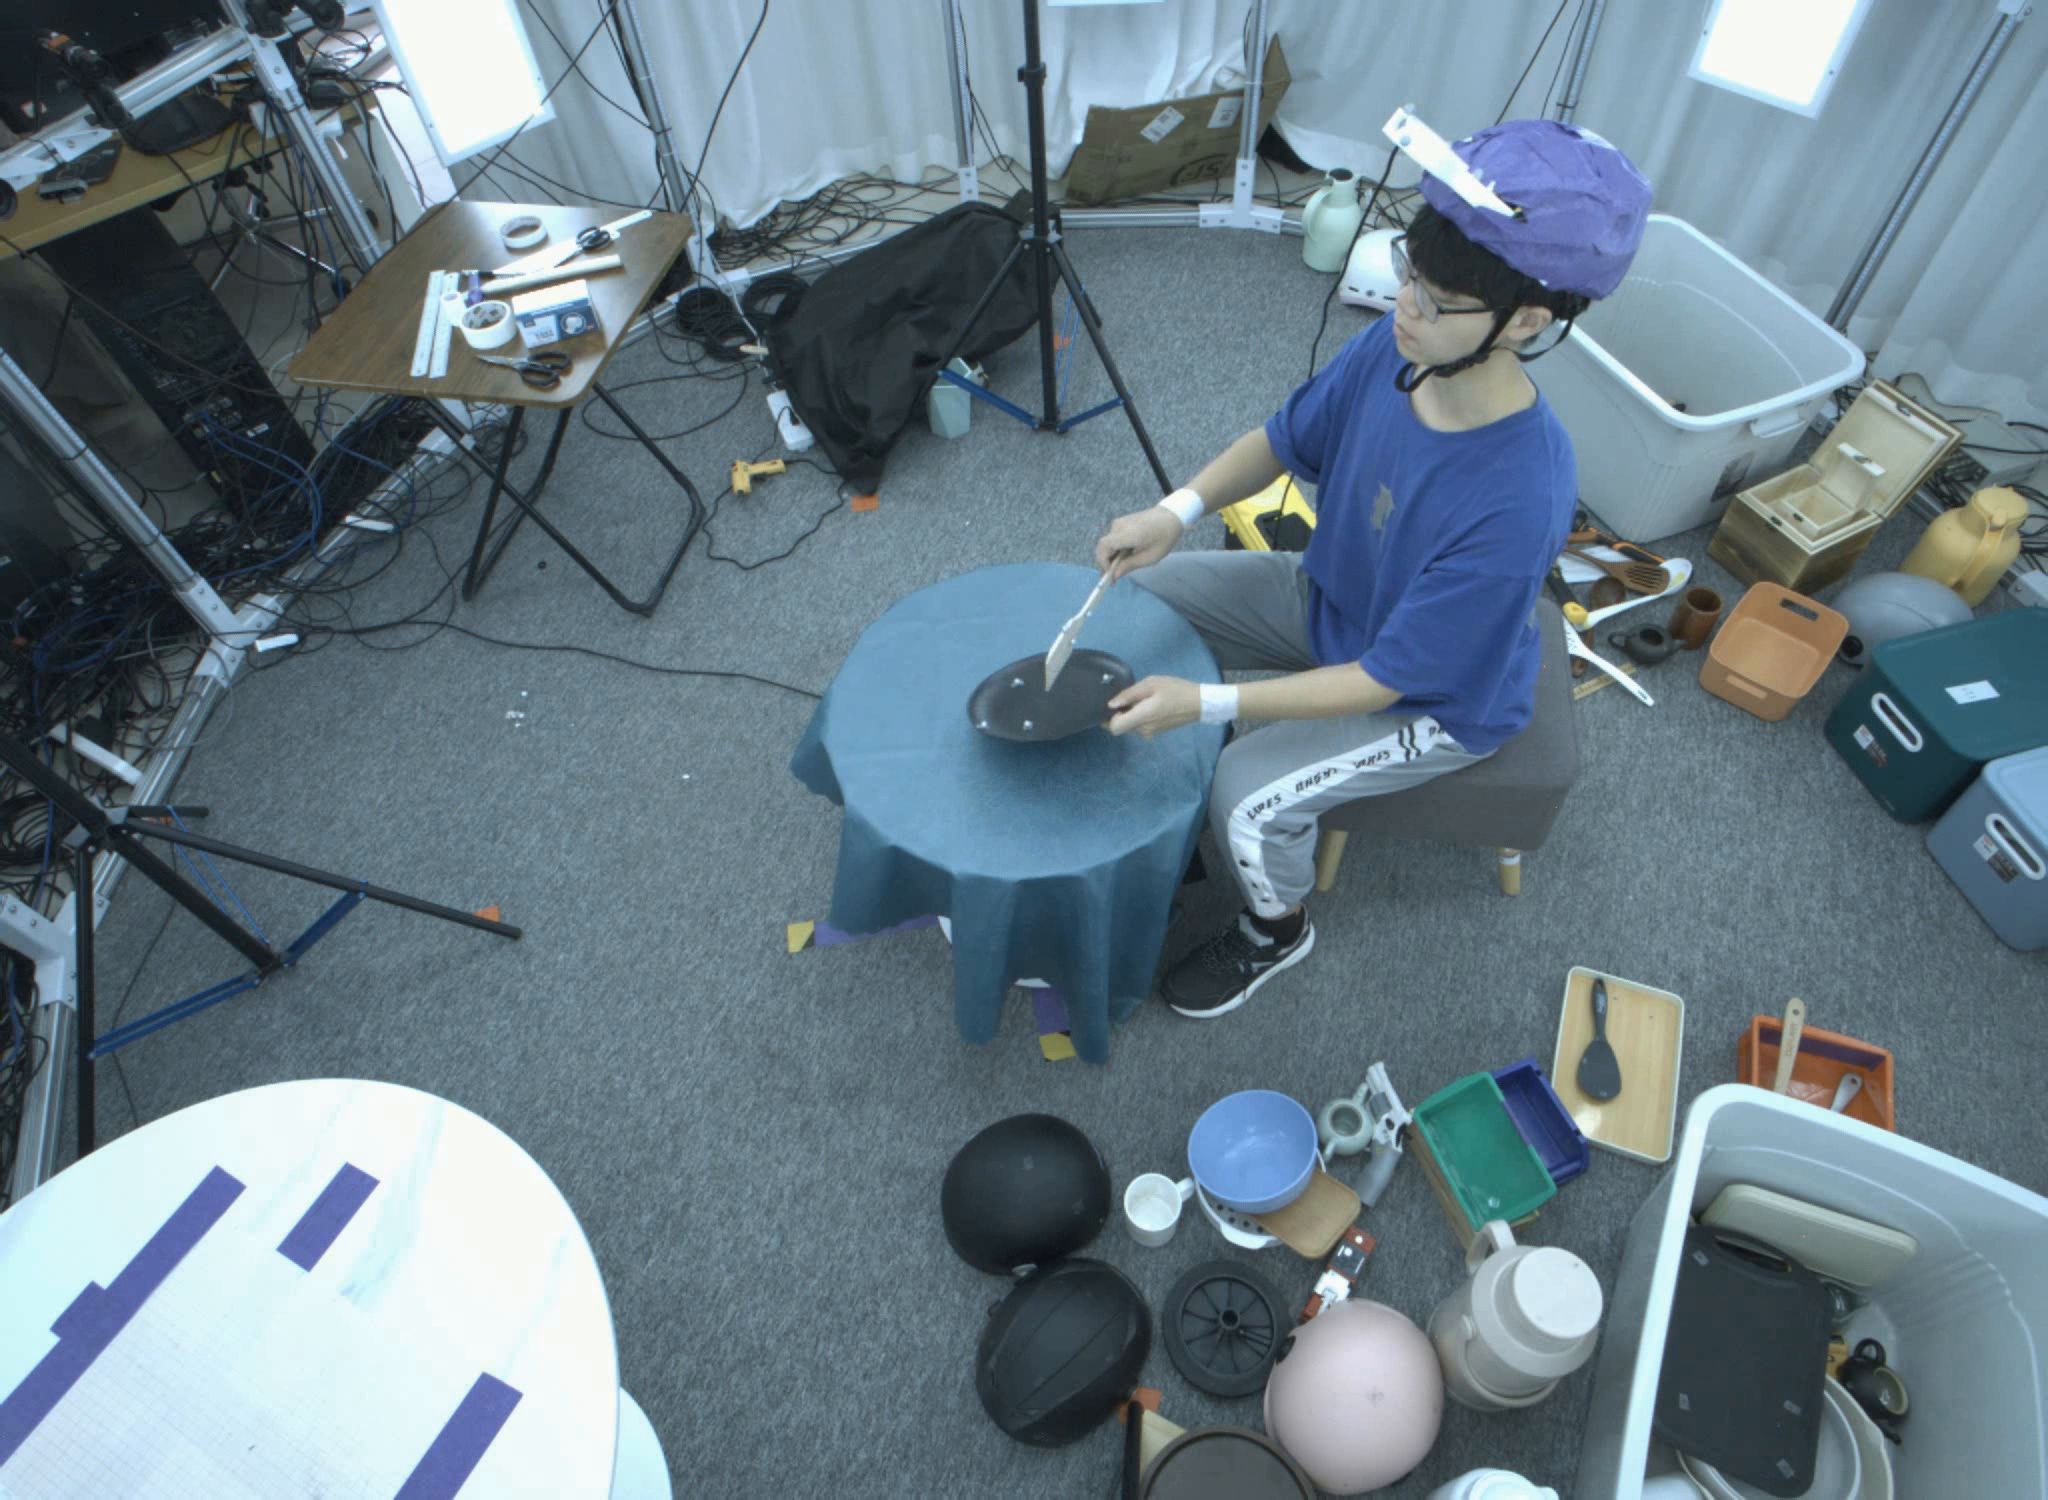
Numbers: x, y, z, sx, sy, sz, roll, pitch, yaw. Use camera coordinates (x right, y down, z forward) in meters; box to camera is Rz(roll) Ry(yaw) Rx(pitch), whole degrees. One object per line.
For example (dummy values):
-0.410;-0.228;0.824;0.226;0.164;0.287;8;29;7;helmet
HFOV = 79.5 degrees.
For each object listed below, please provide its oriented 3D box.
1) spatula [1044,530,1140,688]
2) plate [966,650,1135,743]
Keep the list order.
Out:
0.097;-0.211;1.736;0.010;0.073;0.293;23;60;18;spatula
0.038;-0.071;1.742;0.243;0.024;0.242;-9;32;7;plate
